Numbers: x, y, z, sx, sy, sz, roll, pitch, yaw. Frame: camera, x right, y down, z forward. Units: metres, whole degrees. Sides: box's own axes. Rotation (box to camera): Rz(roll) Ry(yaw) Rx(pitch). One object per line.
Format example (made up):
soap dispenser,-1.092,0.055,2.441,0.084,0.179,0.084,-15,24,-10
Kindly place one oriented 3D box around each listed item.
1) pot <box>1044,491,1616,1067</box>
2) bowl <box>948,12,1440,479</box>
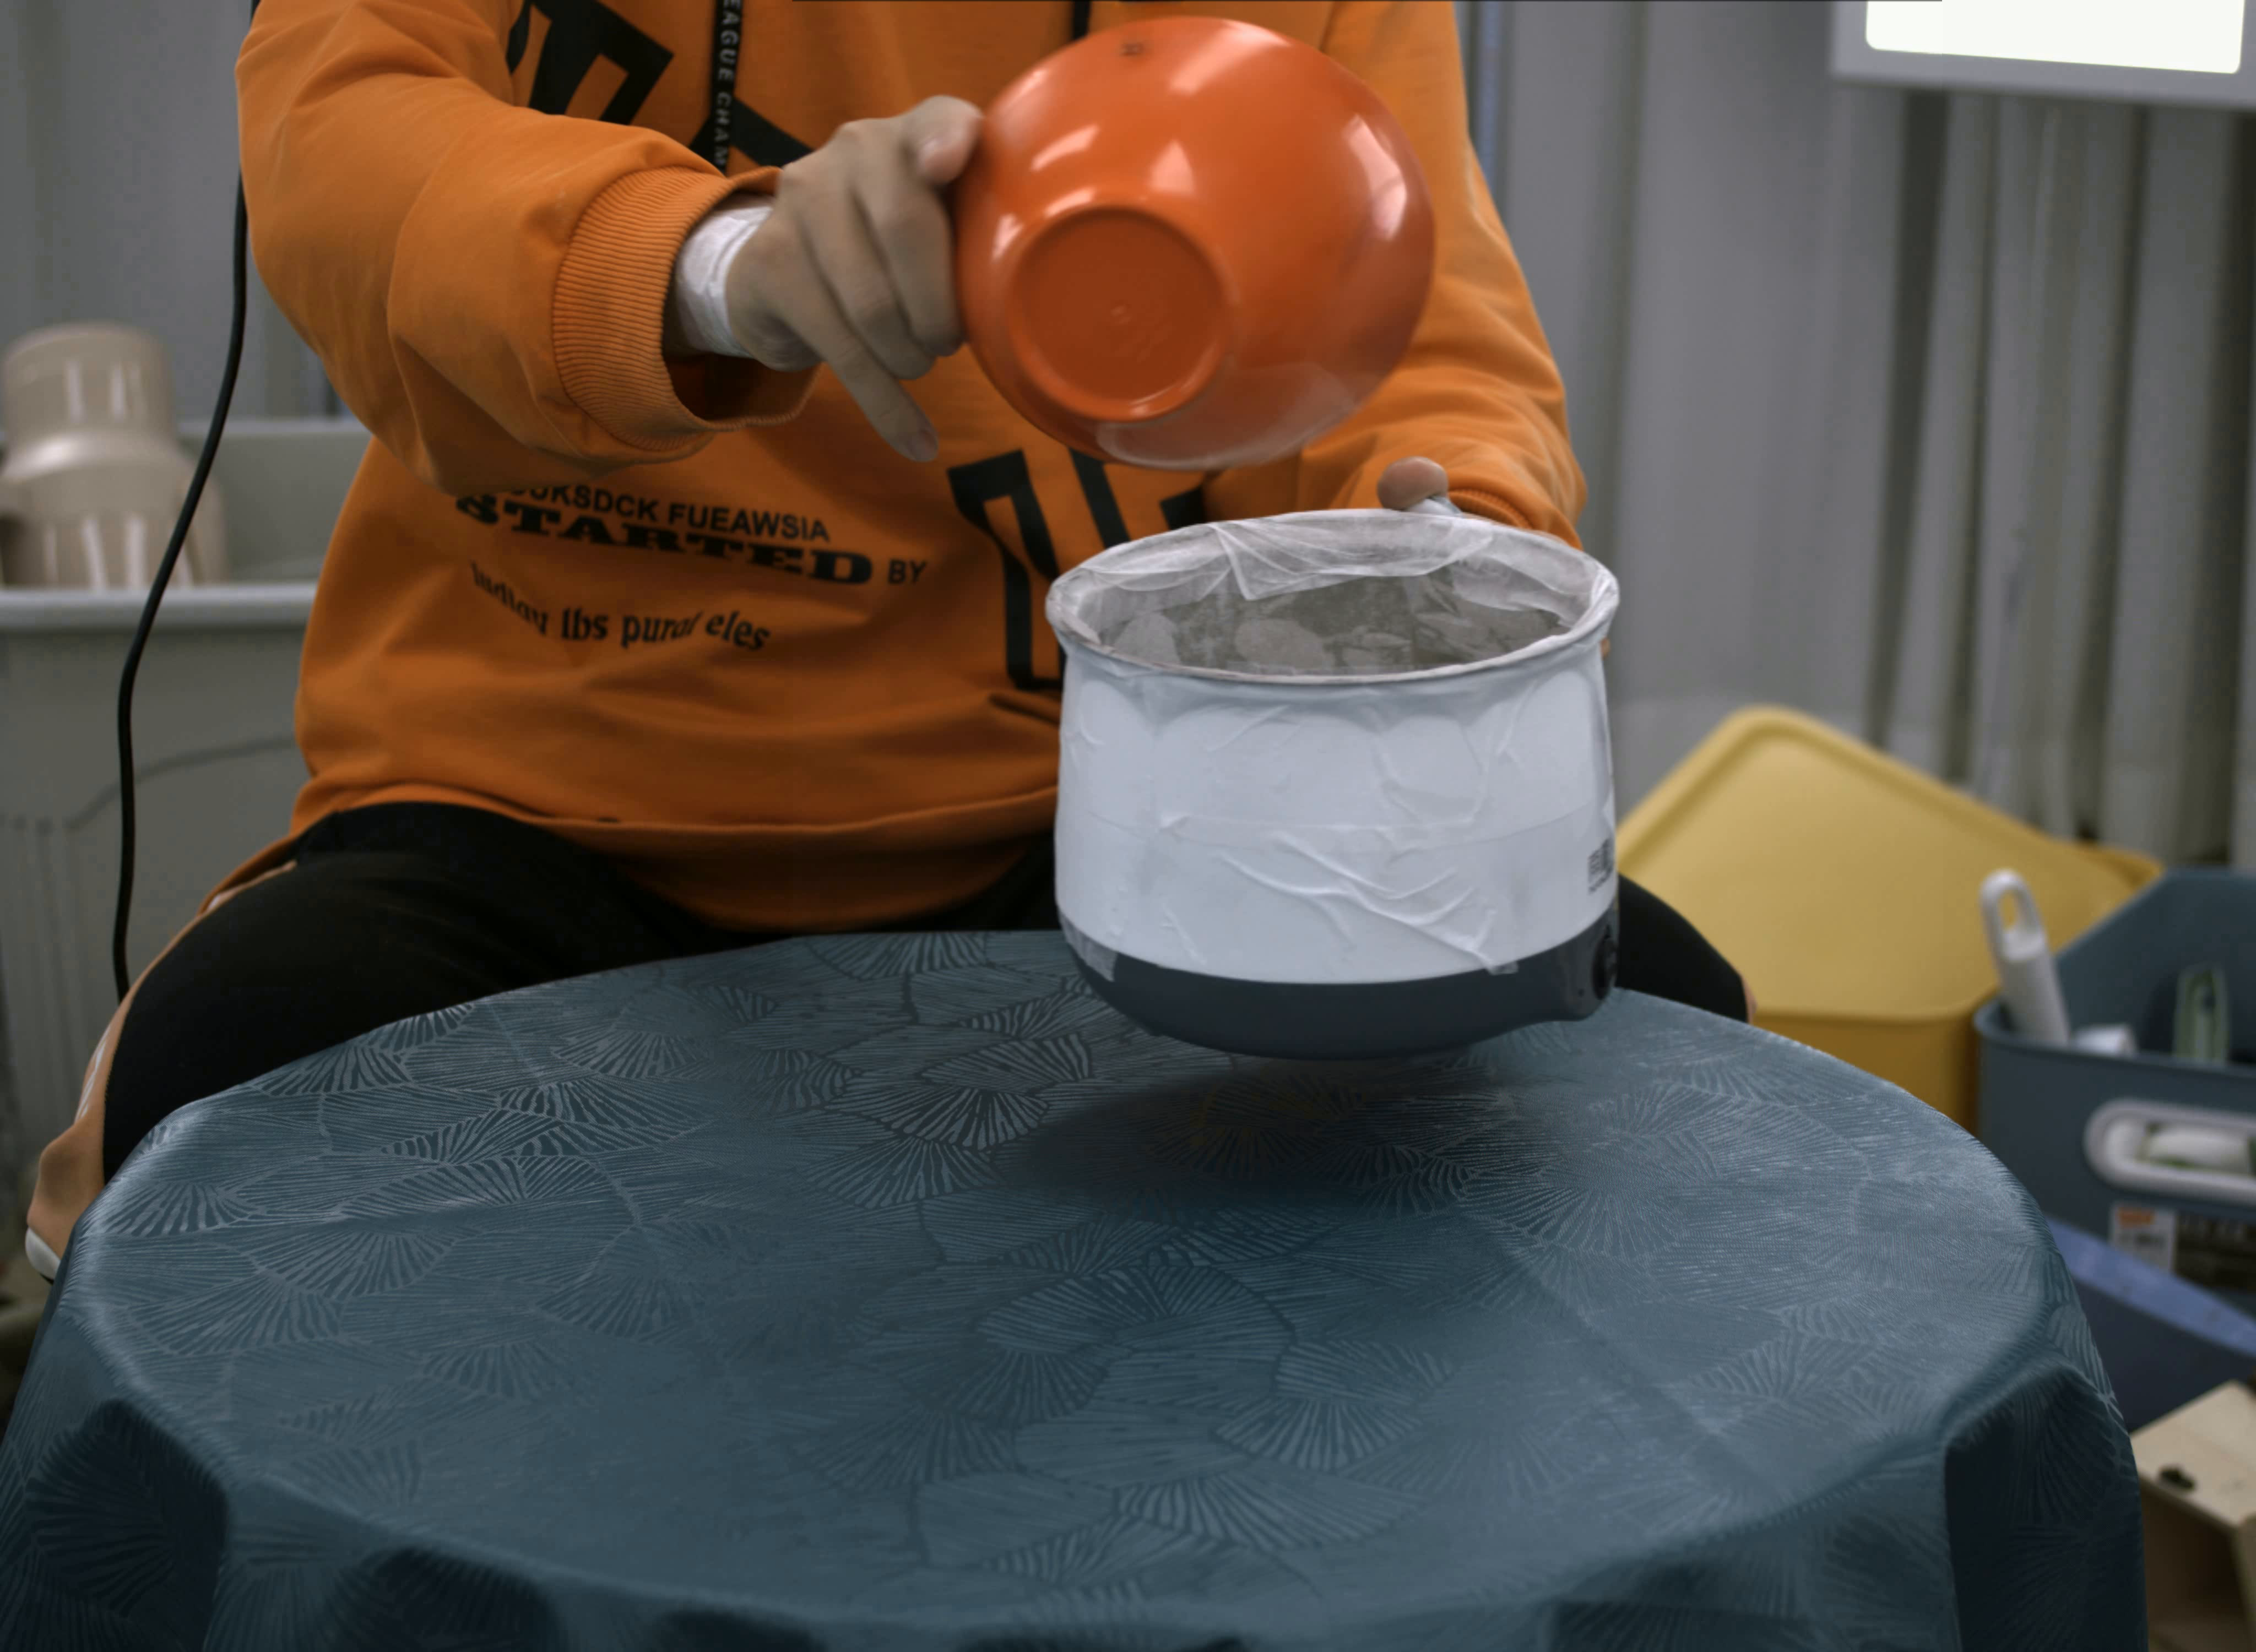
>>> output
pot,0.072,-0.022,1.669,0.177,0.138,0.233,6,21,18
bowl,0.015,-0.160,1.544,0.147,0.149,0.104,3,22,7
